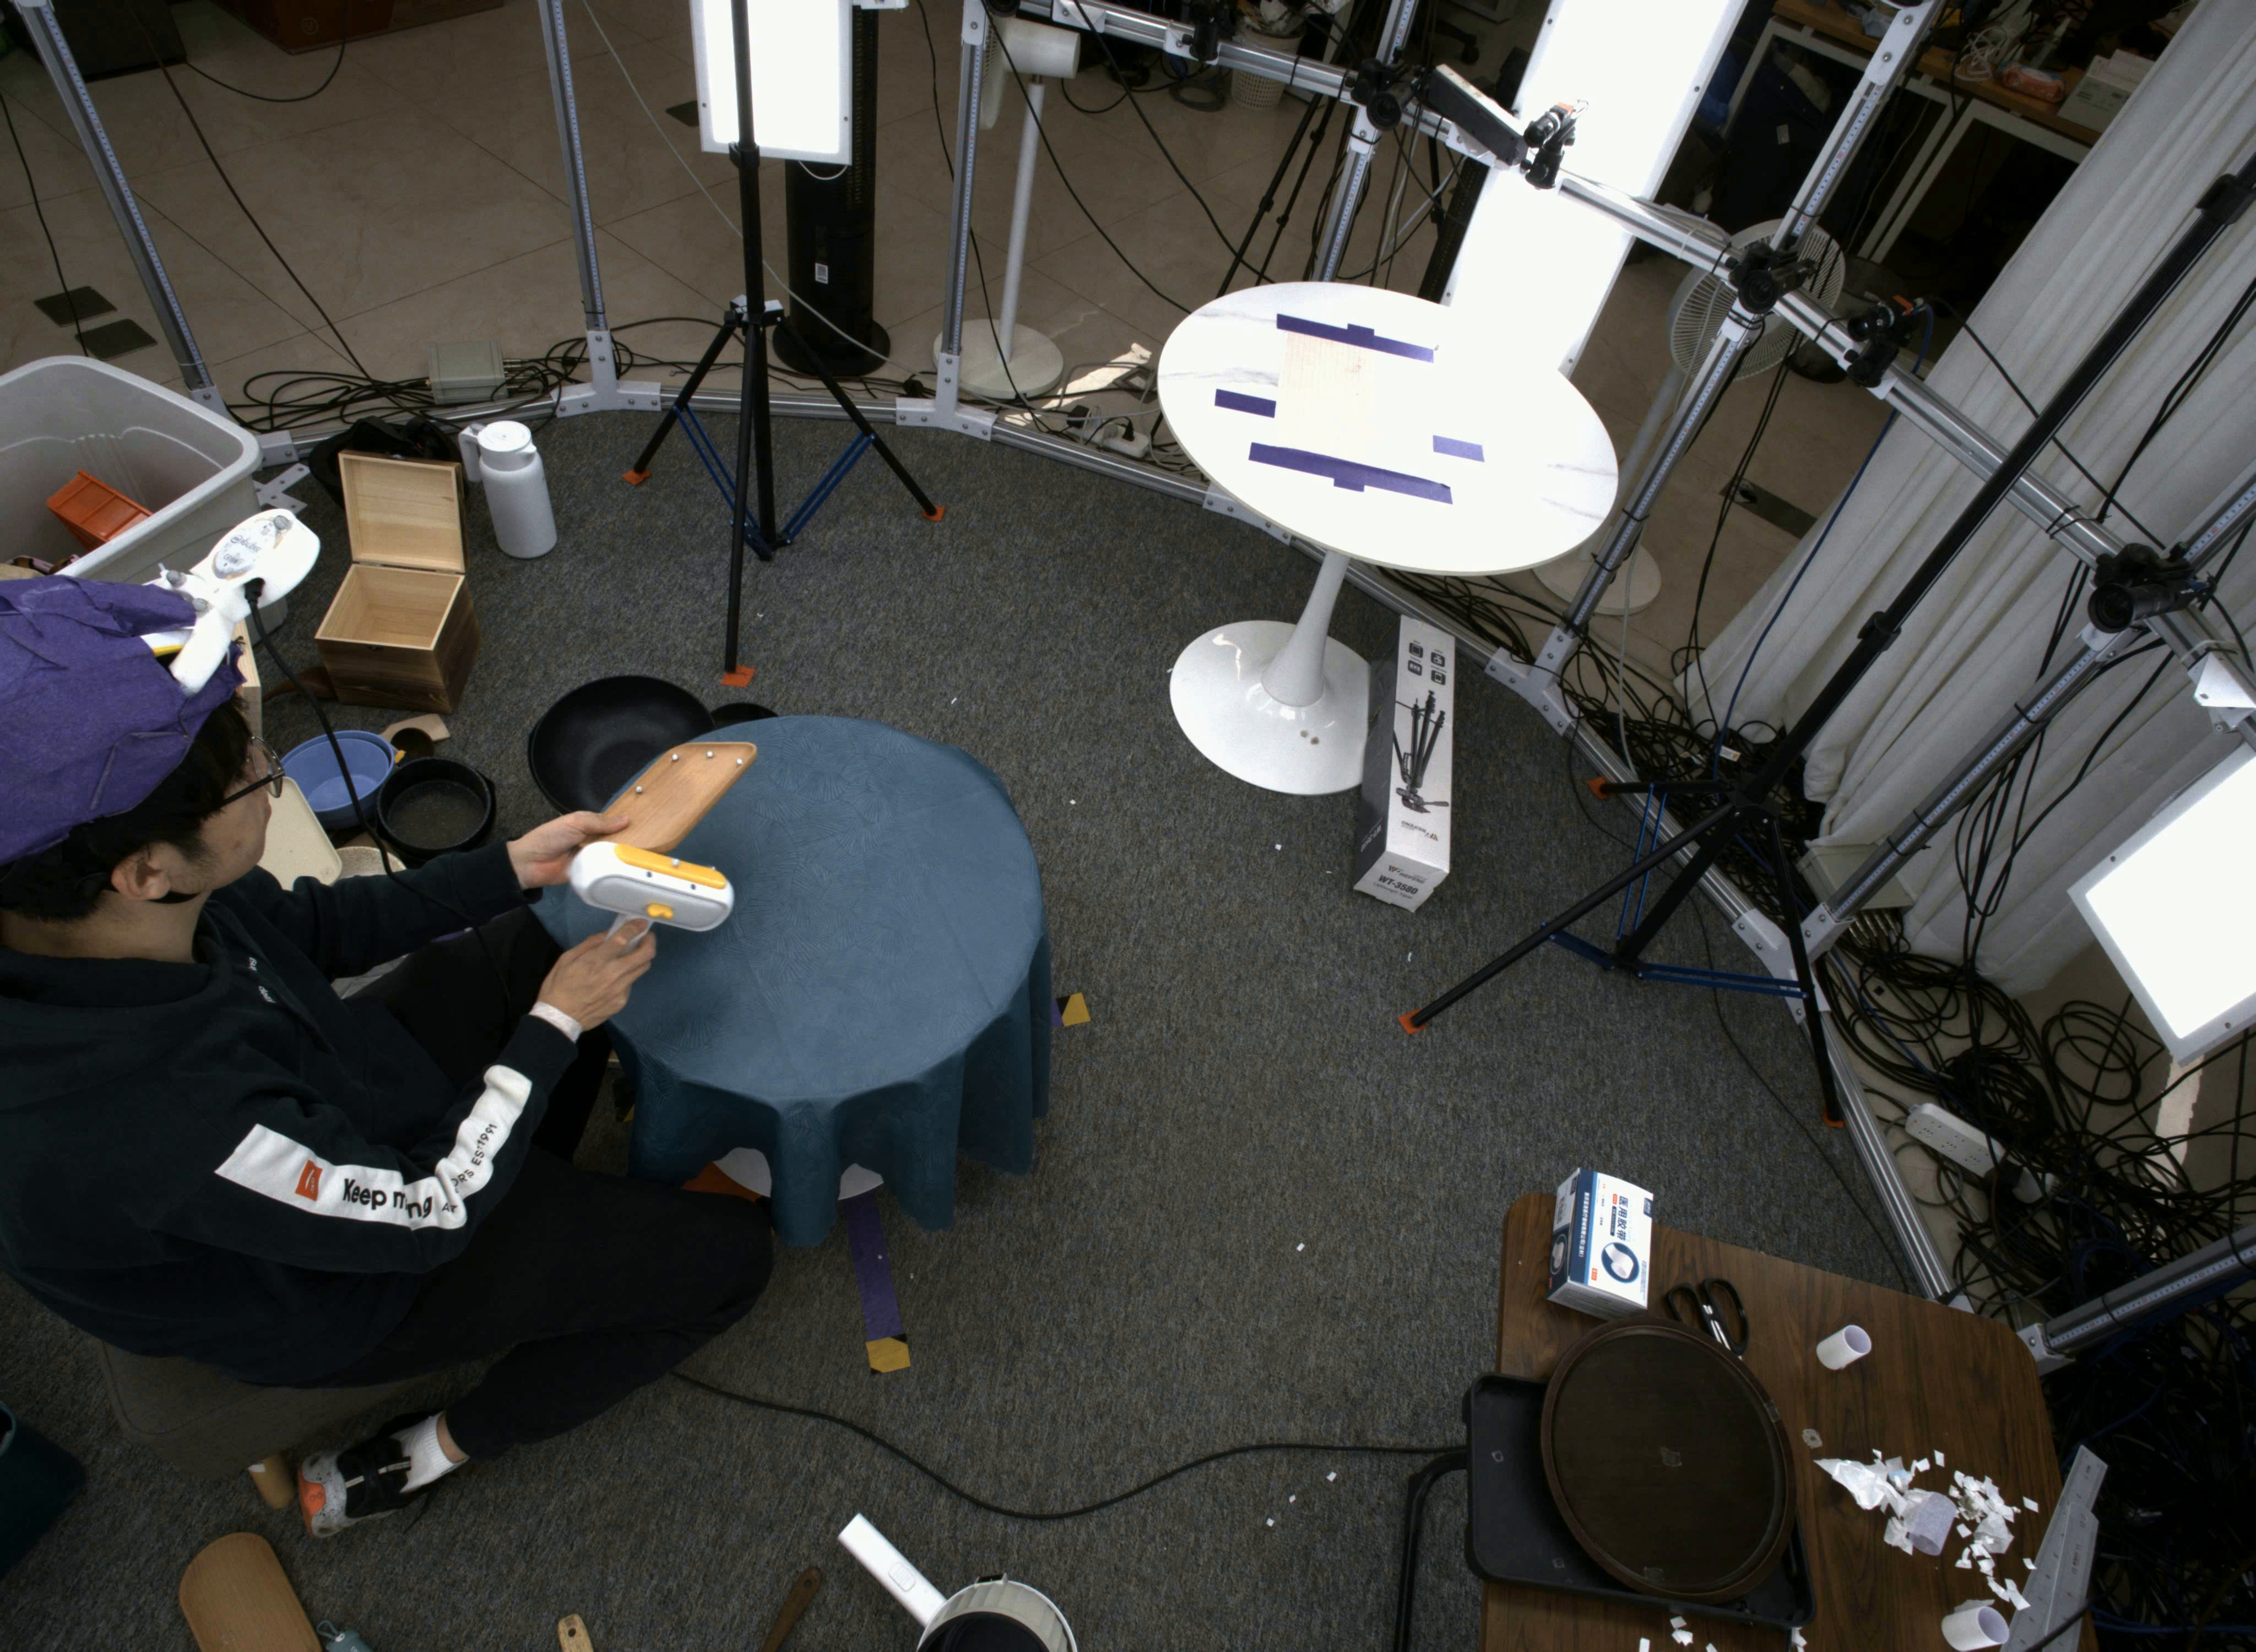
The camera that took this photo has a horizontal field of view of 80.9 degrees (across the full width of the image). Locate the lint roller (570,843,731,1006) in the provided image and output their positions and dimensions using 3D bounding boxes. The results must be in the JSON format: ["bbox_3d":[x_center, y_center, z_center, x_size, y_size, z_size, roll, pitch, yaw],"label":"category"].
[{"bbox_3d":[-0.557,0.111,1.429,0.198,0.193,0.072,14,31,-54],"label":"lint roller"}]

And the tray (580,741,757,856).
[{"bbox_3d":[-0.539,-0.037,1.514,0.127,0.024,0.248,0,32,16],"label":"tray"}]
